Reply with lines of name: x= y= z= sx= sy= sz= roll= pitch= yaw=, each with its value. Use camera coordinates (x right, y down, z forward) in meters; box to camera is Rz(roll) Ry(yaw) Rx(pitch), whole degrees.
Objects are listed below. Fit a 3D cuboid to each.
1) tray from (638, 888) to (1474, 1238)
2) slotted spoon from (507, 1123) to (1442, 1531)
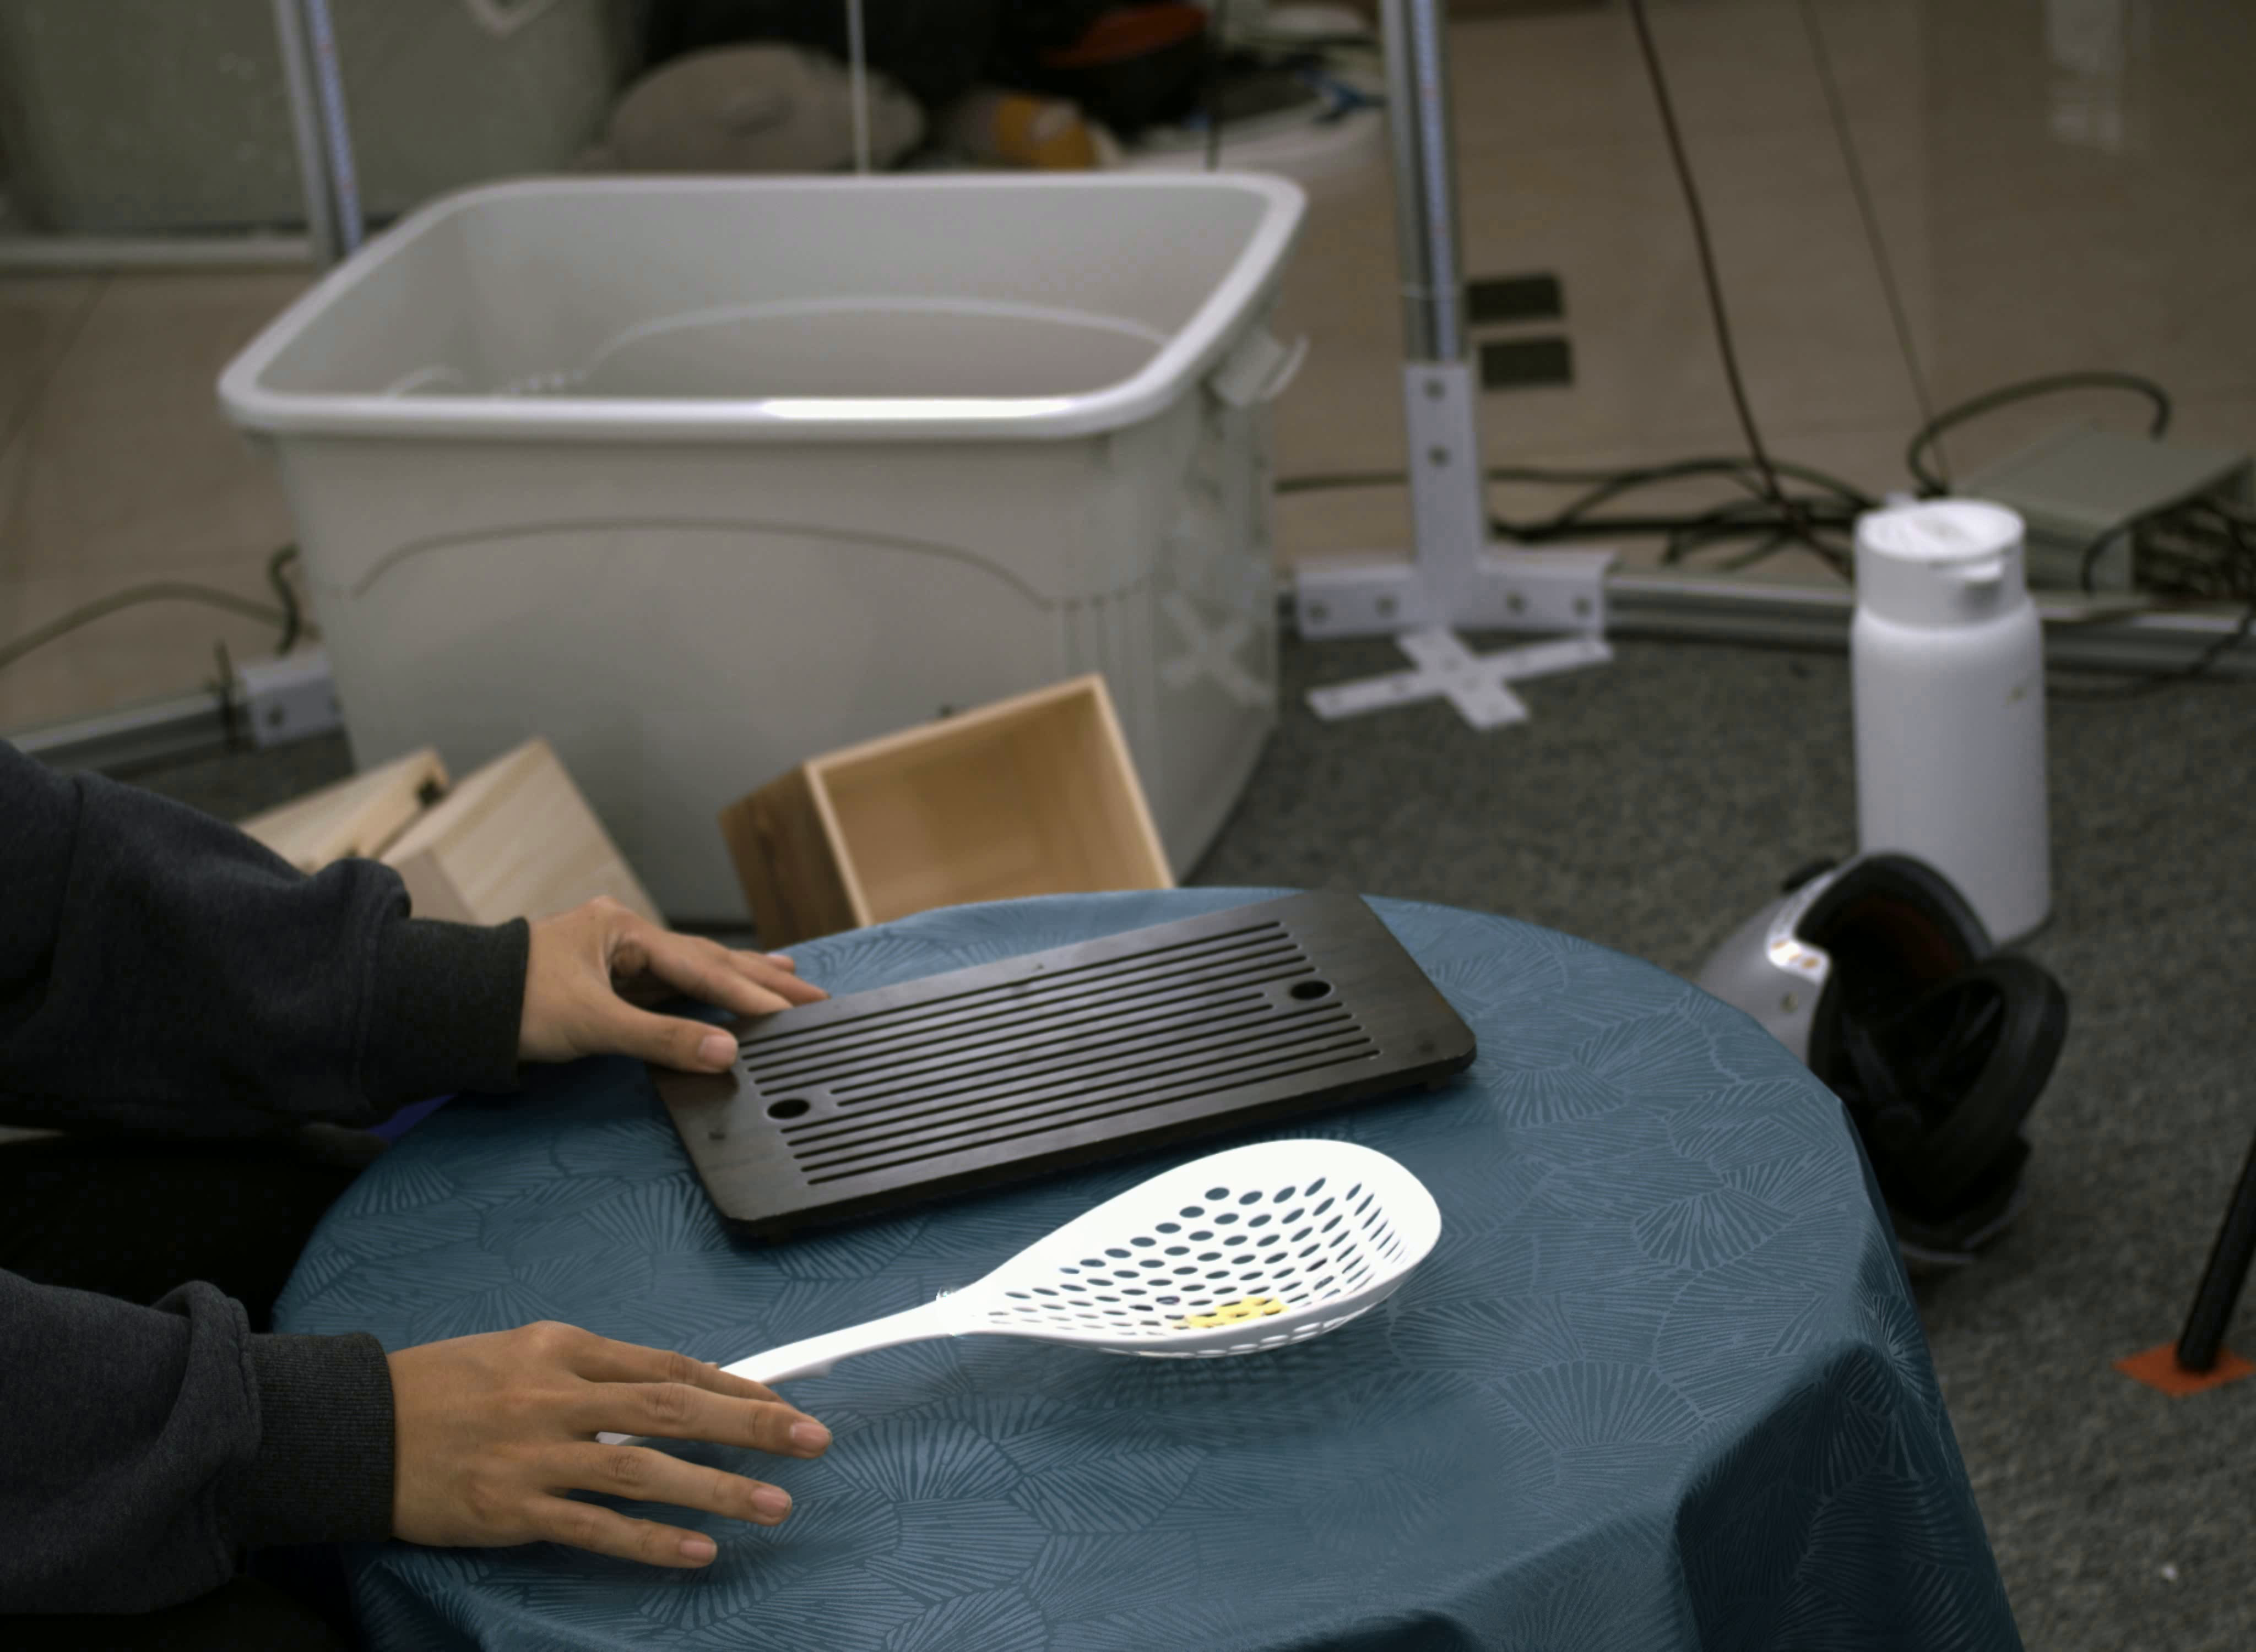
tray: x=-0.030 y=0.092 z=2.233 sx=0.305 sy=0.019 sz=0.168 roll=-12 pitch=25 yaw=-12
slotted spoon: x=-0.056 y=0.183 z=2.016 sx=0.347 sy=0.051 sz=0.135 roll=-12 pitch=25 yaw=-13
